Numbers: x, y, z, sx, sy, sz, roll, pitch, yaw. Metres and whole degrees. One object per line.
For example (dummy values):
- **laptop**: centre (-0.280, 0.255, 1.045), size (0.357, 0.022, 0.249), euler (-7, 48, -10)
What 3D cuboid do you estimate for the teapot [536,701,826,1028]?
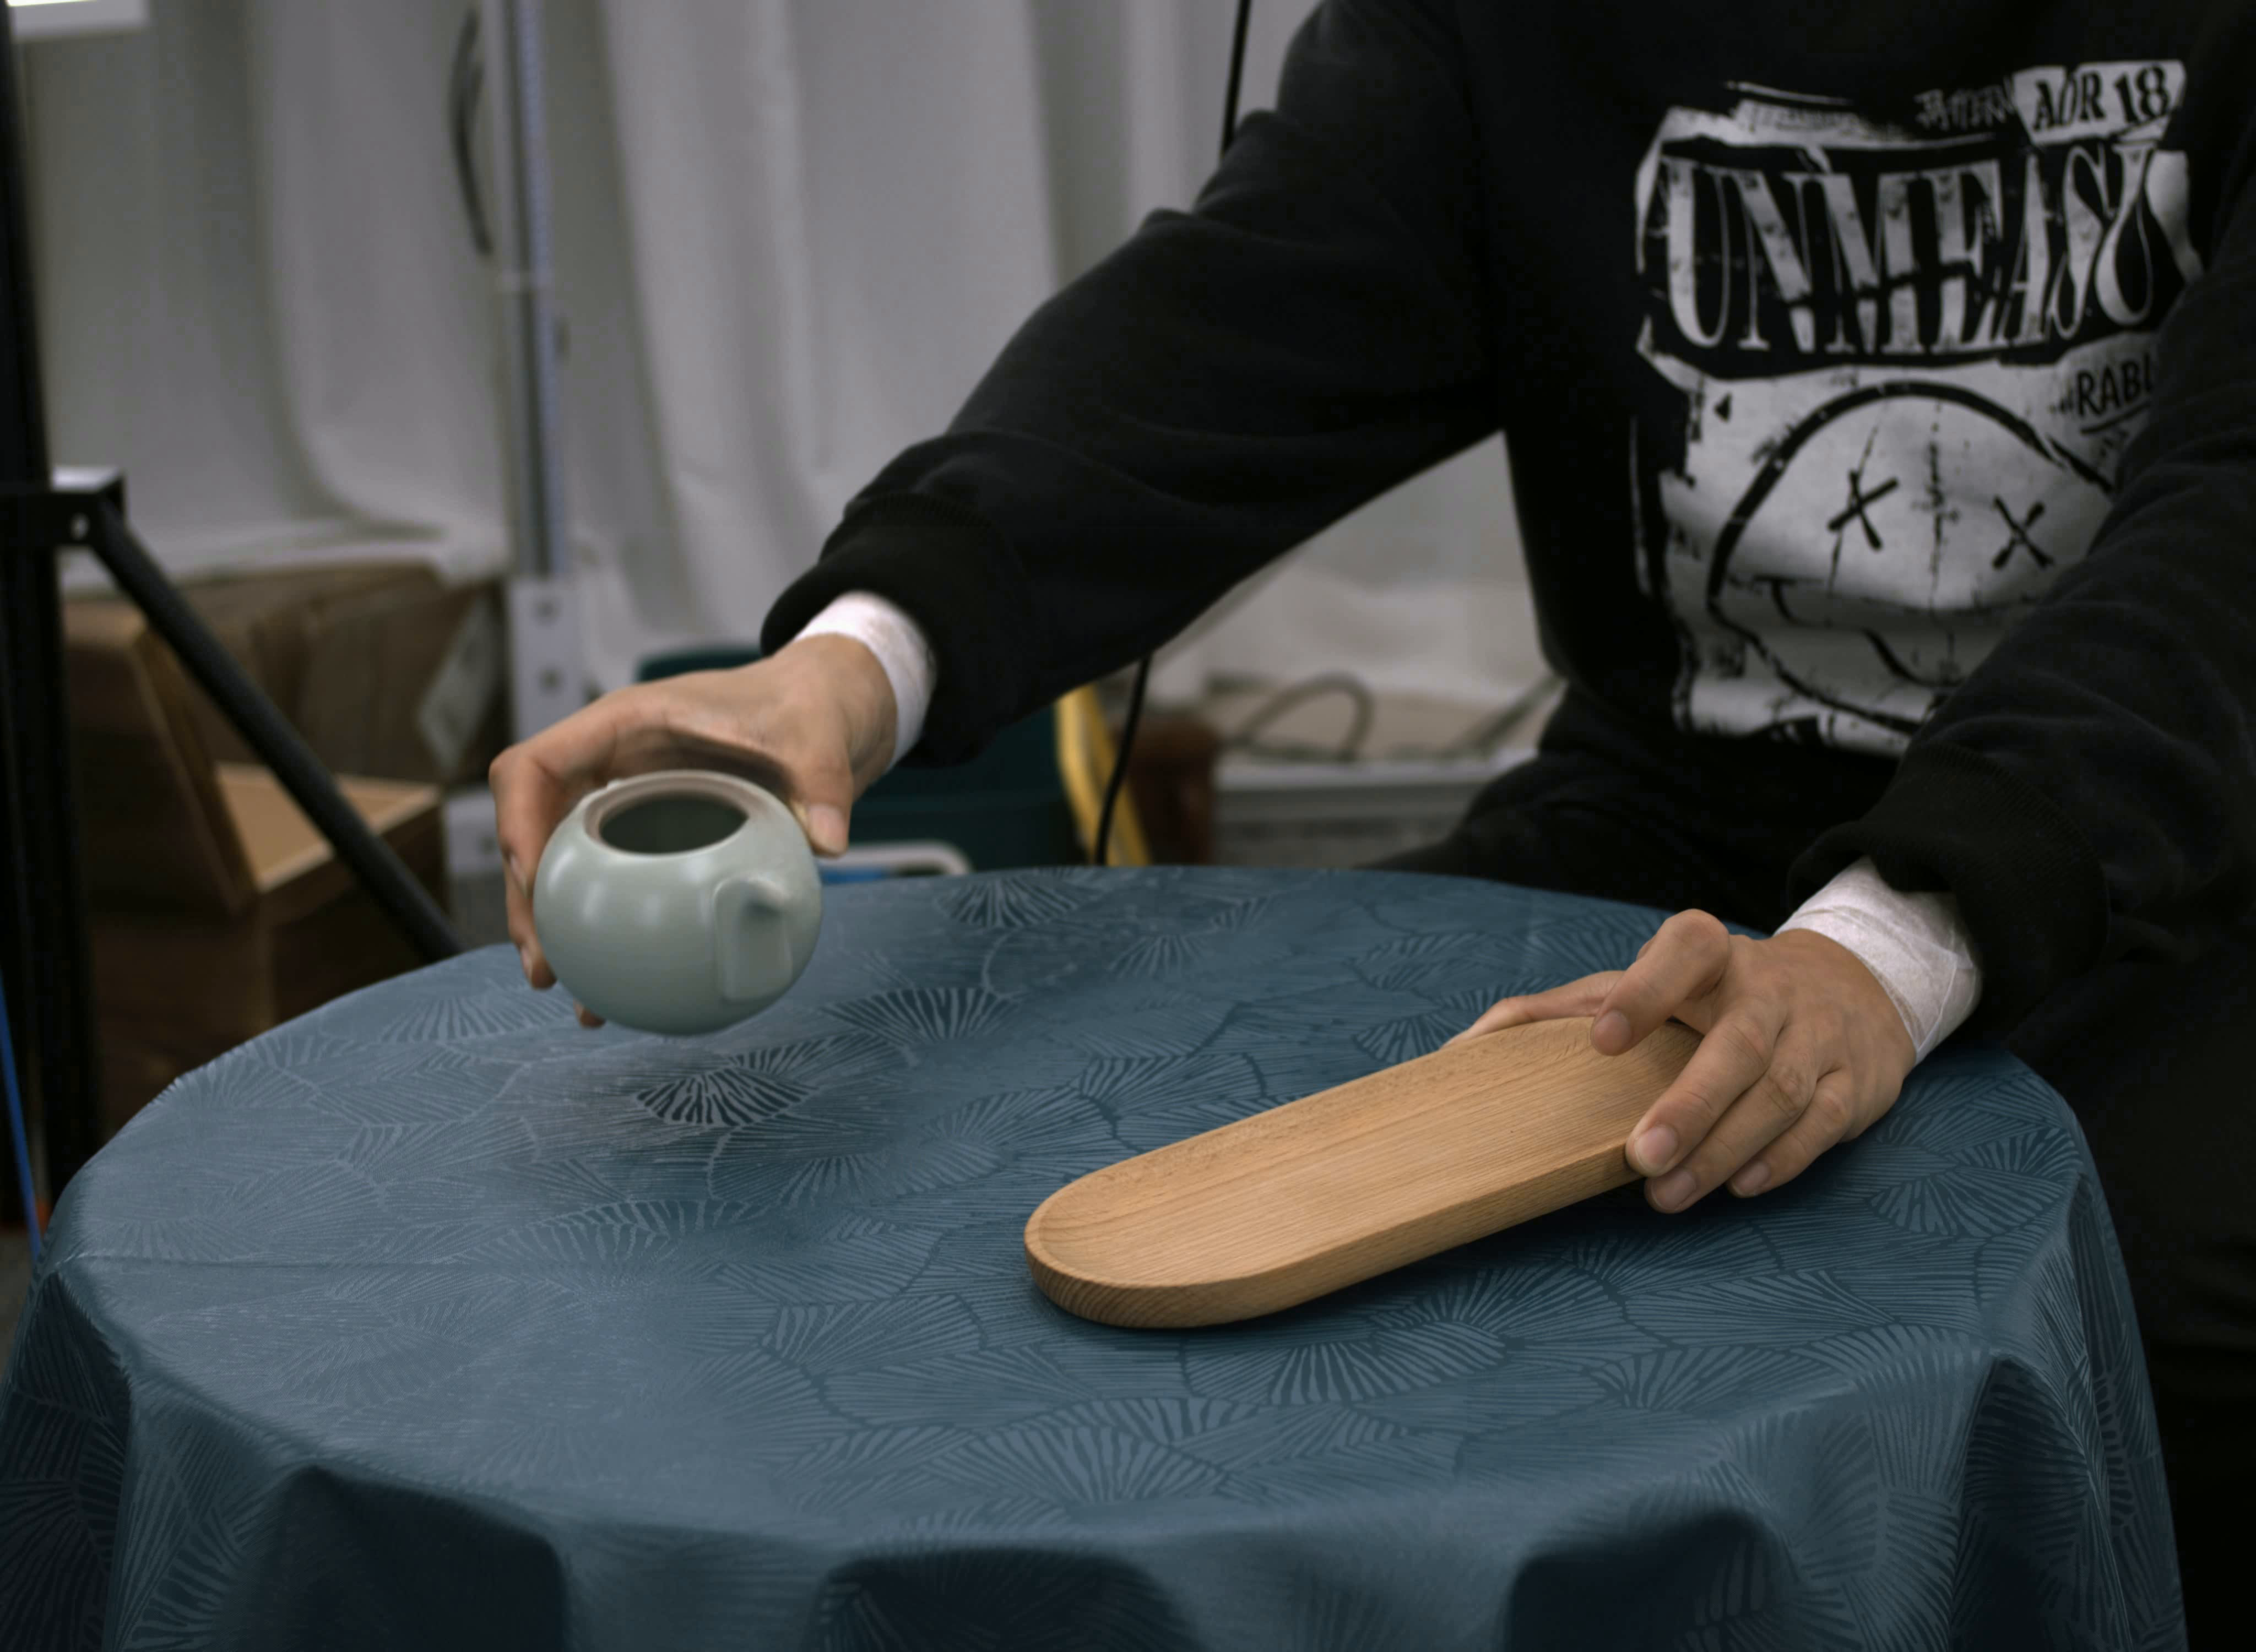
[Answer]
- **teapot**: centre (-0.135, 0.019, 1.614), size (0.086, 0.074, 0.147), euler (-18, 33, -26)

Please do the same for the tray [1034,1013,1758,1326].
- **tray**: centre (0.079, 0.097, 1.512), size (0.226, 0.020, 0.104), euler (-16, 22, -28)
